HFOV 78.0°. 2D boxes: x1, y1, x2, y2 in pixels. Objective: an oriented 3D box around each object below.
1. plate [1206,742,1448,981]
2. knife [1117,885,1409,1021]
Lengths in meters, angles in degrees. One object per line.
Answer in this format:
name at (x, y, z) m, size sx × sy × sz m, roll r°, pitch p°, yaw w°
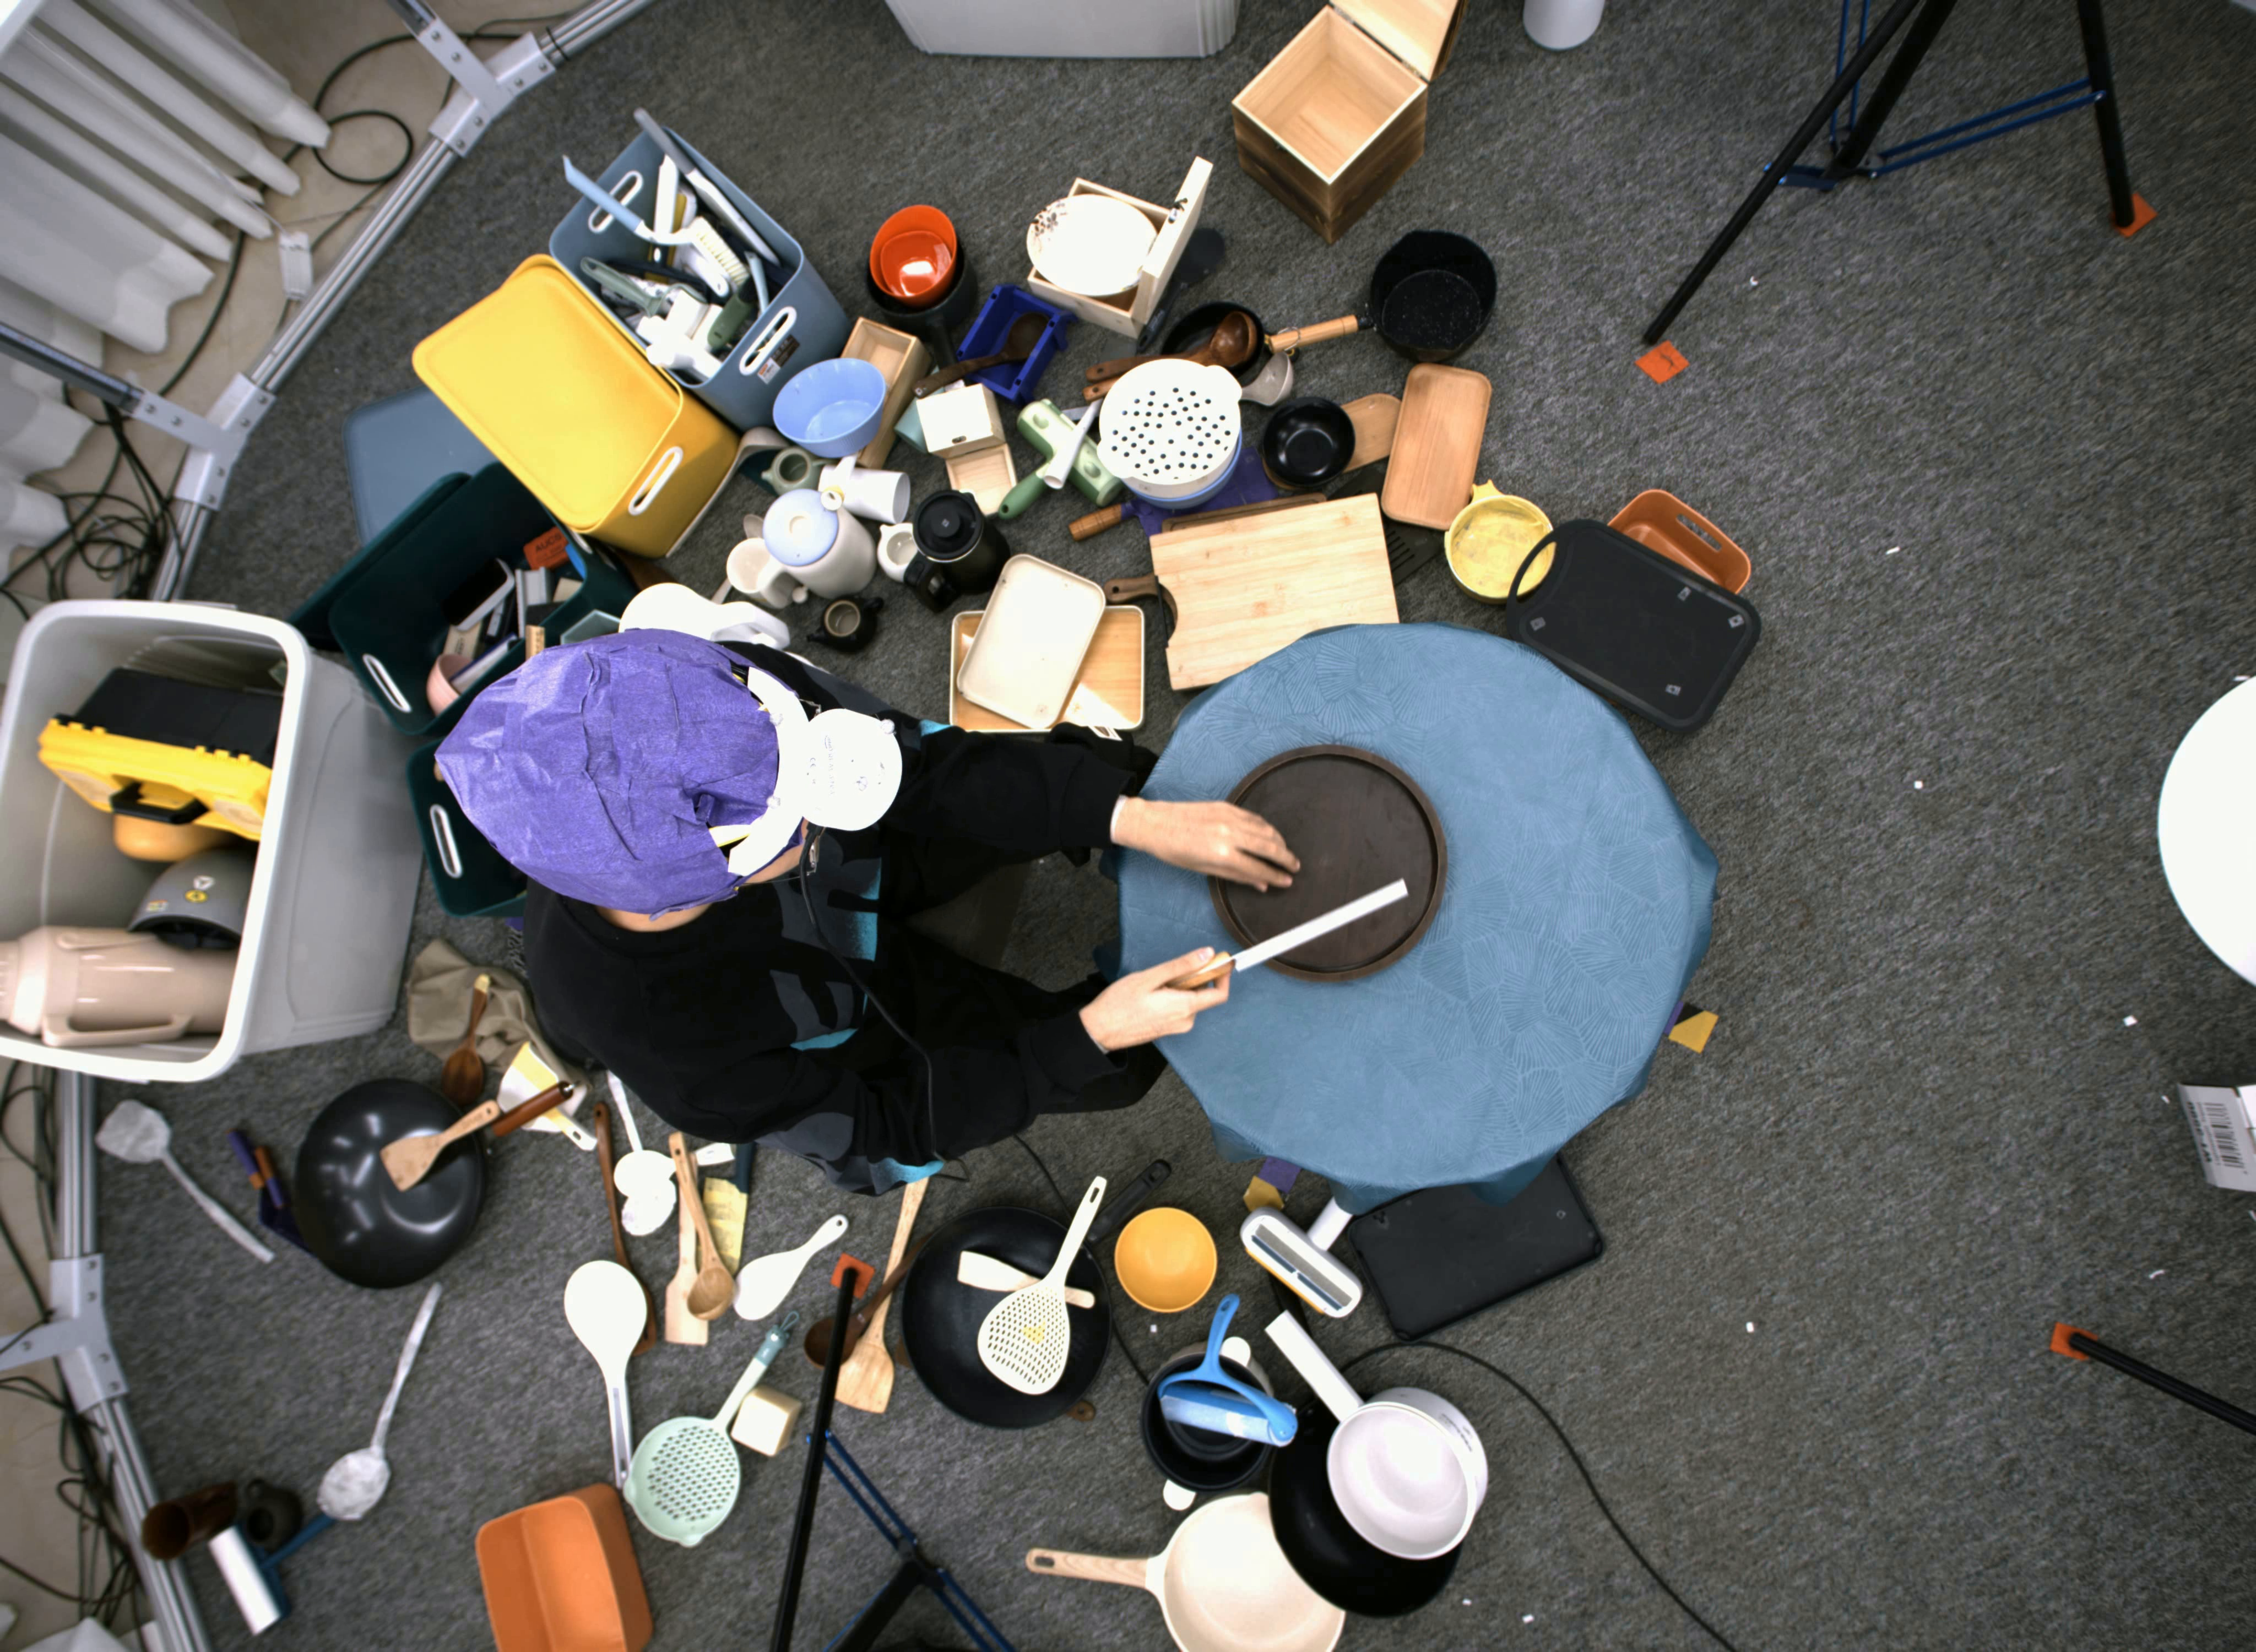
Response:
plate at (0.209, 0.037, 1.460) m, size 0.256 × 0.029 × 0.253 m, roll -1°, pitch 85°, yaw 10°
knife at (0.136, 0.126, 1.375) m, size 0.308 × 0.093 × 0.021 m, roll -25°, pitch 74°, yaw 10°
